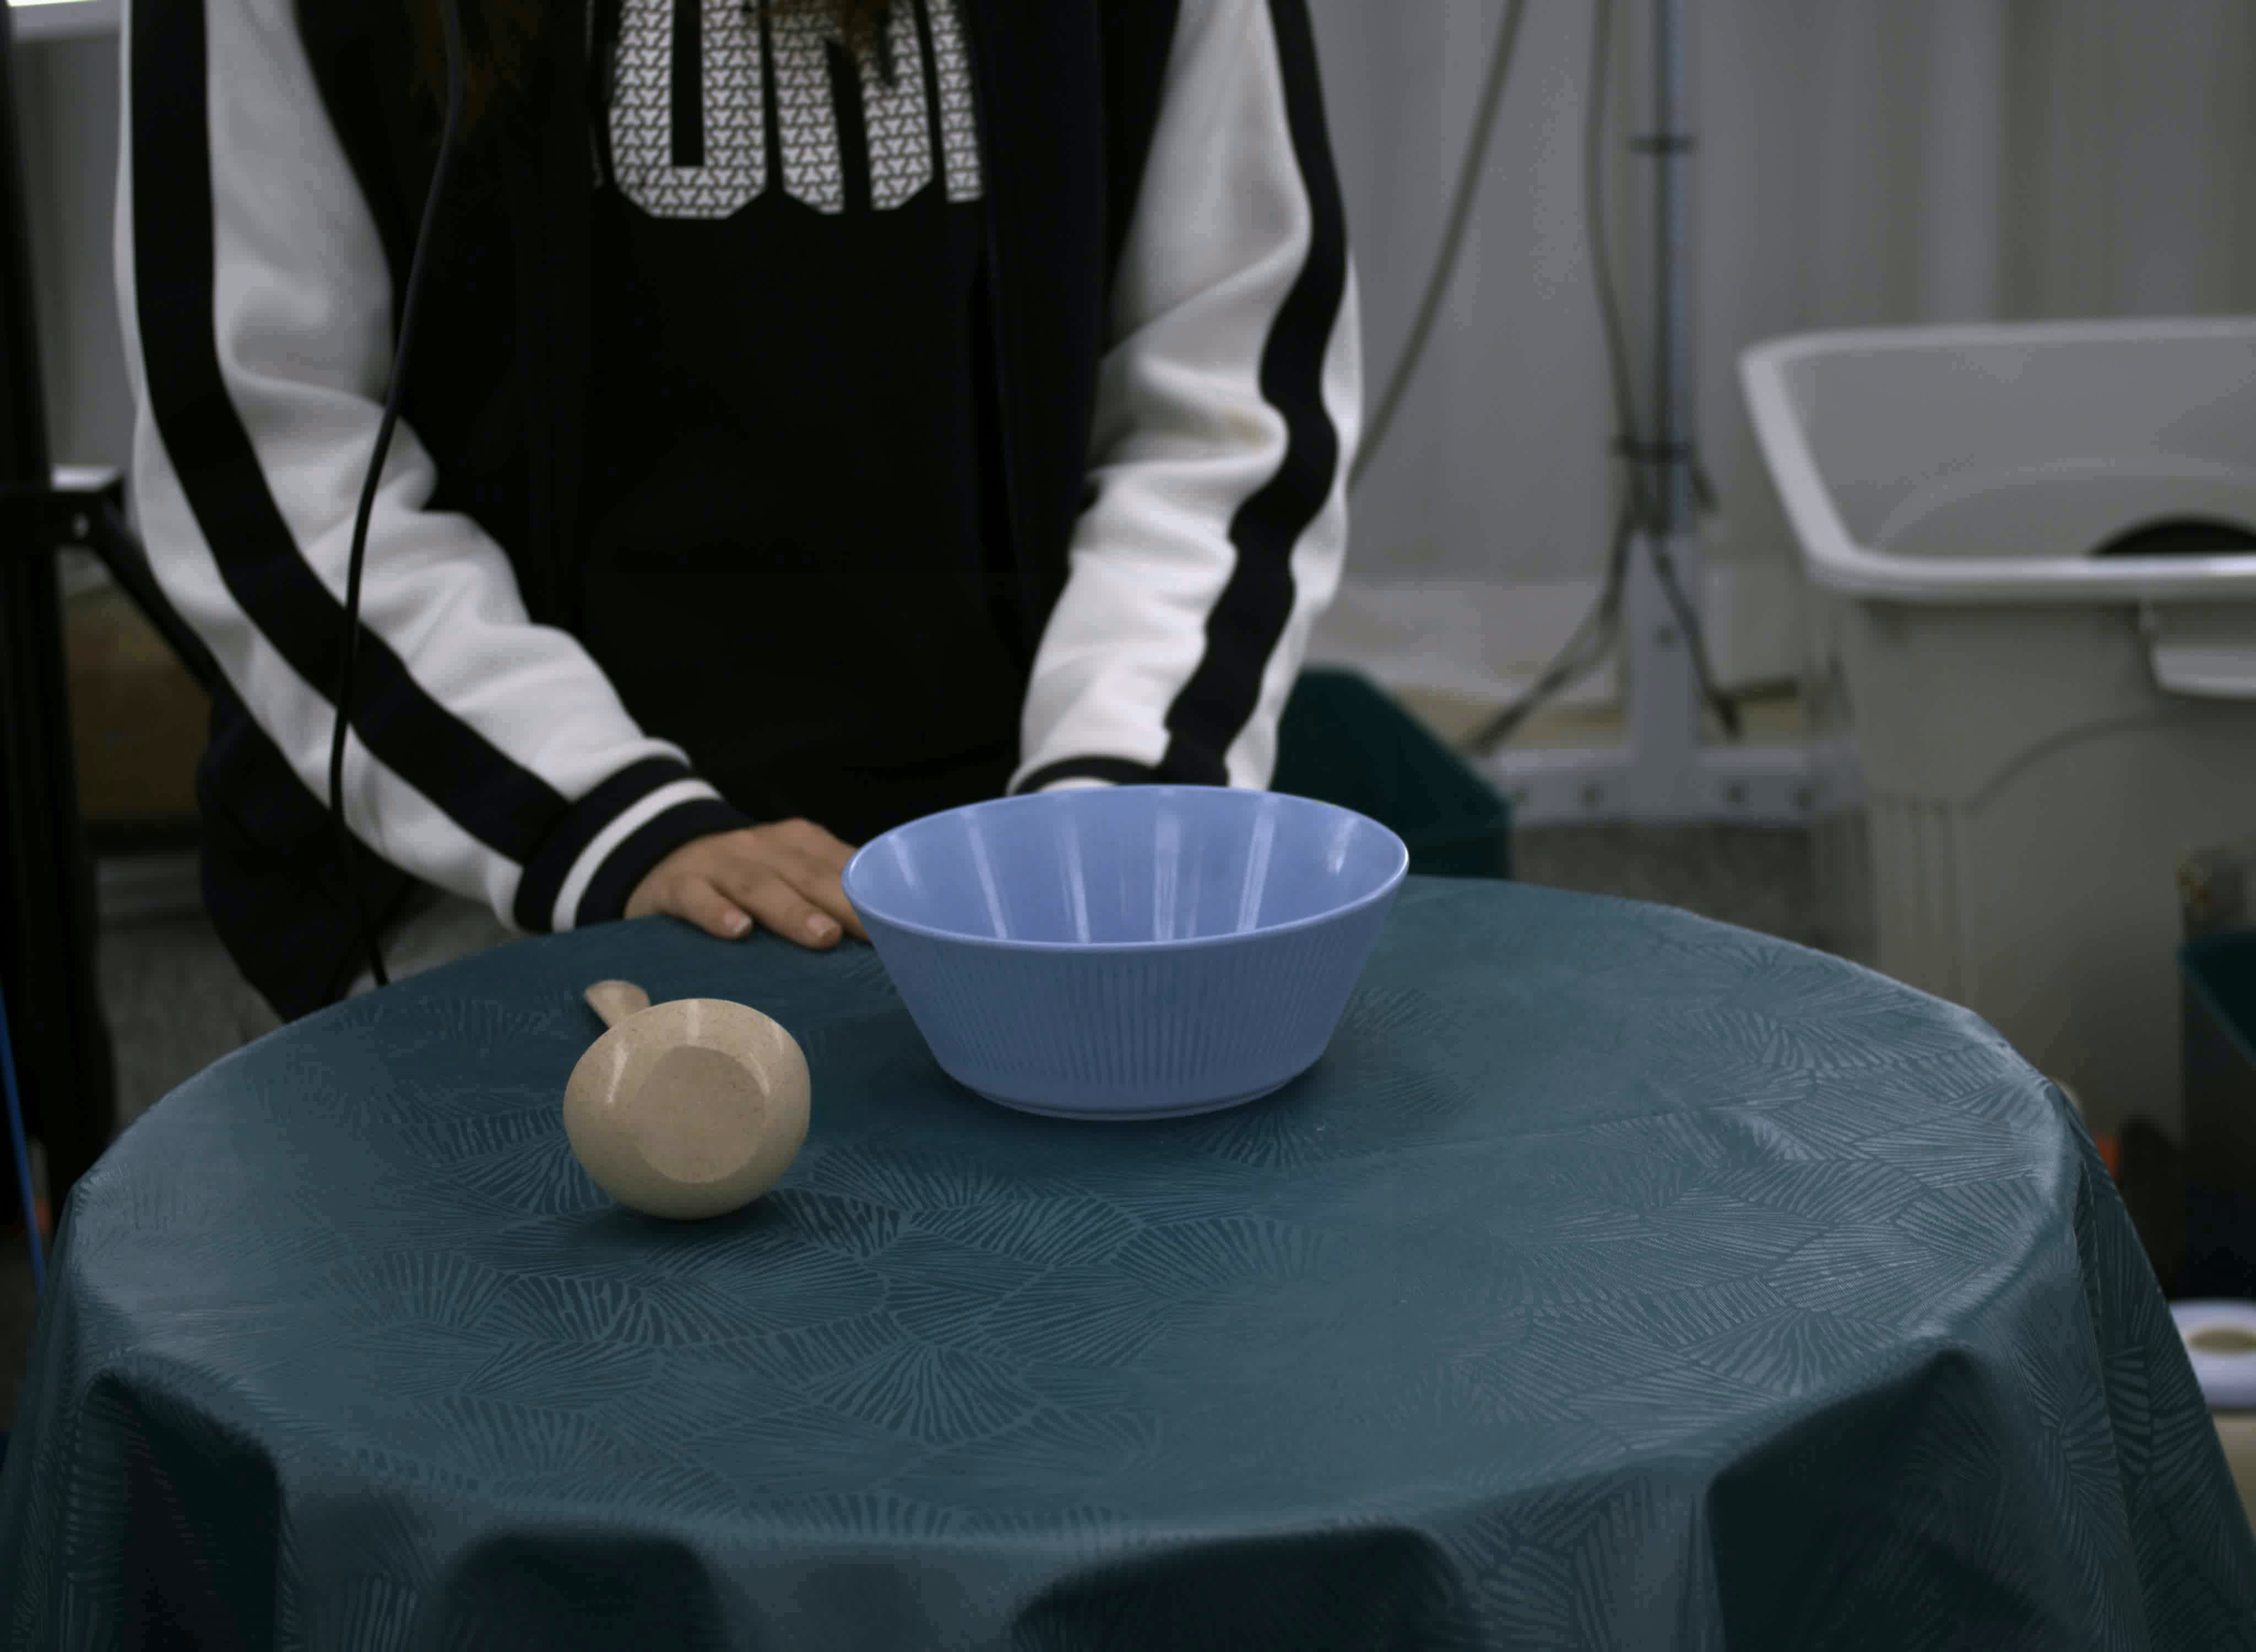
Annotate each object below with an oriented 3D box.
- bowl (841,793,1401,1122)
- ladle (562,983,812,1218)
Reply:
[{"bbox_3d":[-0.002,0.043,1.661,0.175,0.070,0.177,-2,16,-1],"label":"bowl"},{"bbox_3d":[-0.150,0.054,1.640,0.071,0.073,0.258,-4,16,-13],"label":"ladle"}]
